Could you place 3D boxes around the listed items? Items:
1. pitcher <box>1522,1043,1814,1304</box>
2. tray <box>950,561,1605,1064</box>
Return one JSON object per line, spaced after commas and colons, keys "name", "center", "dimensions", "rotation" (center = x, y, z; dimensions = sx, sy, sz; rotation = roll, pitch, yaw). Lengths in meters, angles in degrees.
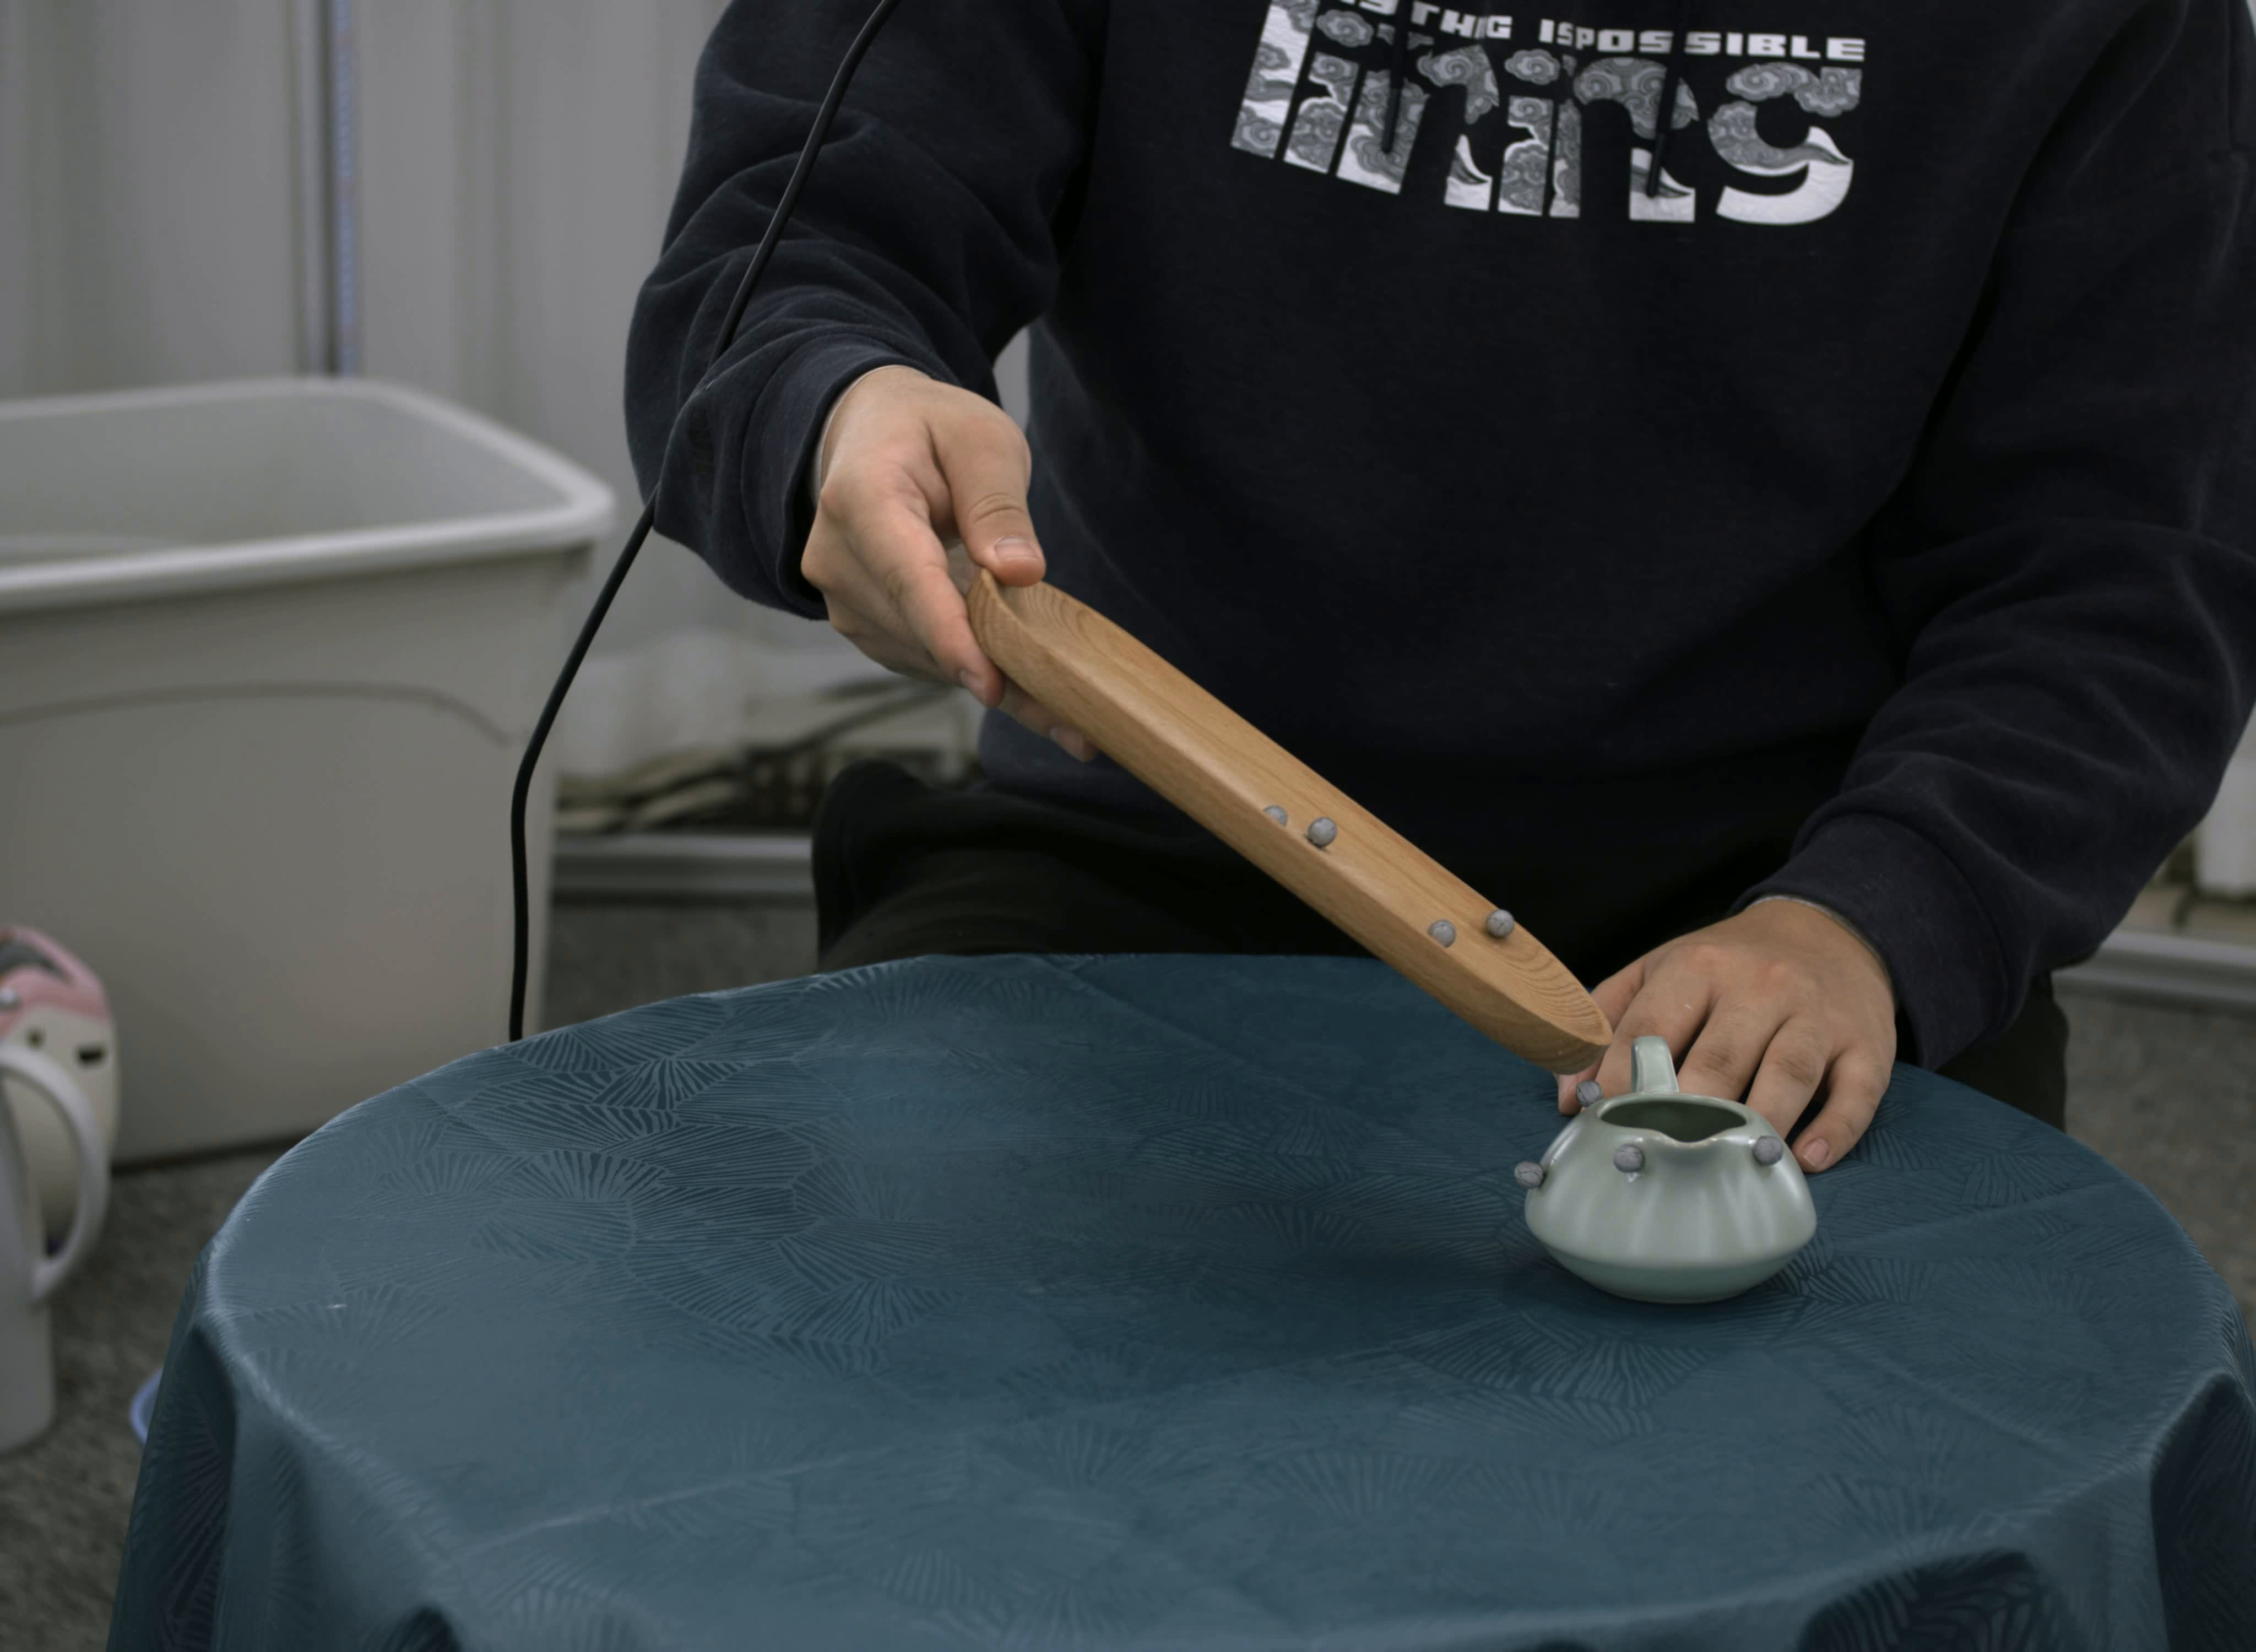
{"name": "pitcher", "center": [0.159, 0.104, 1.563], "dimensions": [0.086, 0.061, 0.107], "rotation": [1, 13, -4]}
{"name": "tray", "center": [0.043, -0.004, 1.540], "dimensions": [0.231, 0.020, 0.101], "rotation": [35, 10, -1]}
